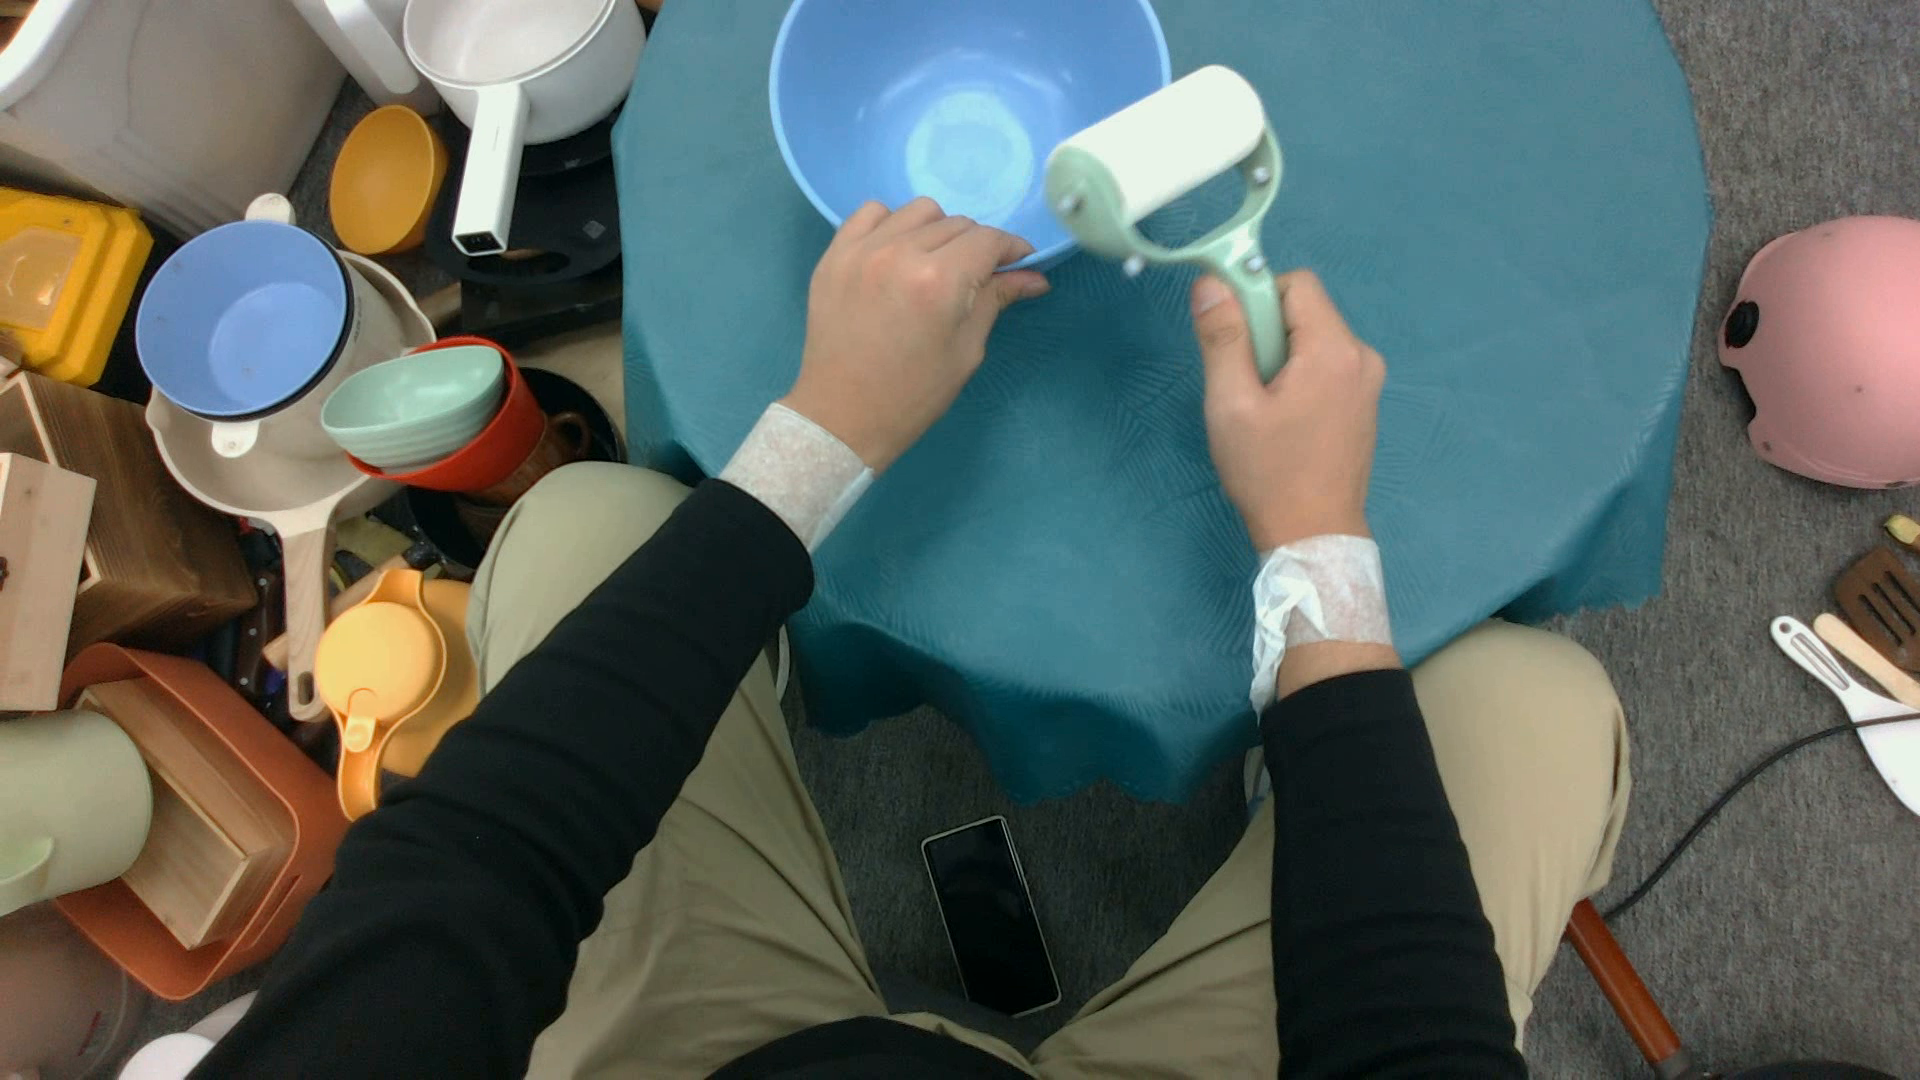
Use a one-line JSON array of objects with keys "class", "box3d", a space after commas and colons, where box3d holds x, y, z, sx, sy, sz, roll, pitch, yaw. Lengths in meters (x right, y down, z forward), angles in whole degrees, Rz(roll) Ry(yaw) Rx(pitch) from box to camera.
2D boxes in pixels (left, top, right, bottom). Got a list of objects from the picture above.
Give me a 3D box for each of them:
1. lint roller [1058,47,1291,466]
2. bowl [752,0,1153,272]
[{"class": "lint roller", "box3d": [0.123, -0.128, 0.650, 0.117, 0.048, 0.197, -27, 99, -36]}, {"class": "bowl", "box3d": [-0.004, -0.221, 0.717, 0.196, 0.095, 0.197, 0, 78, -1]}]
